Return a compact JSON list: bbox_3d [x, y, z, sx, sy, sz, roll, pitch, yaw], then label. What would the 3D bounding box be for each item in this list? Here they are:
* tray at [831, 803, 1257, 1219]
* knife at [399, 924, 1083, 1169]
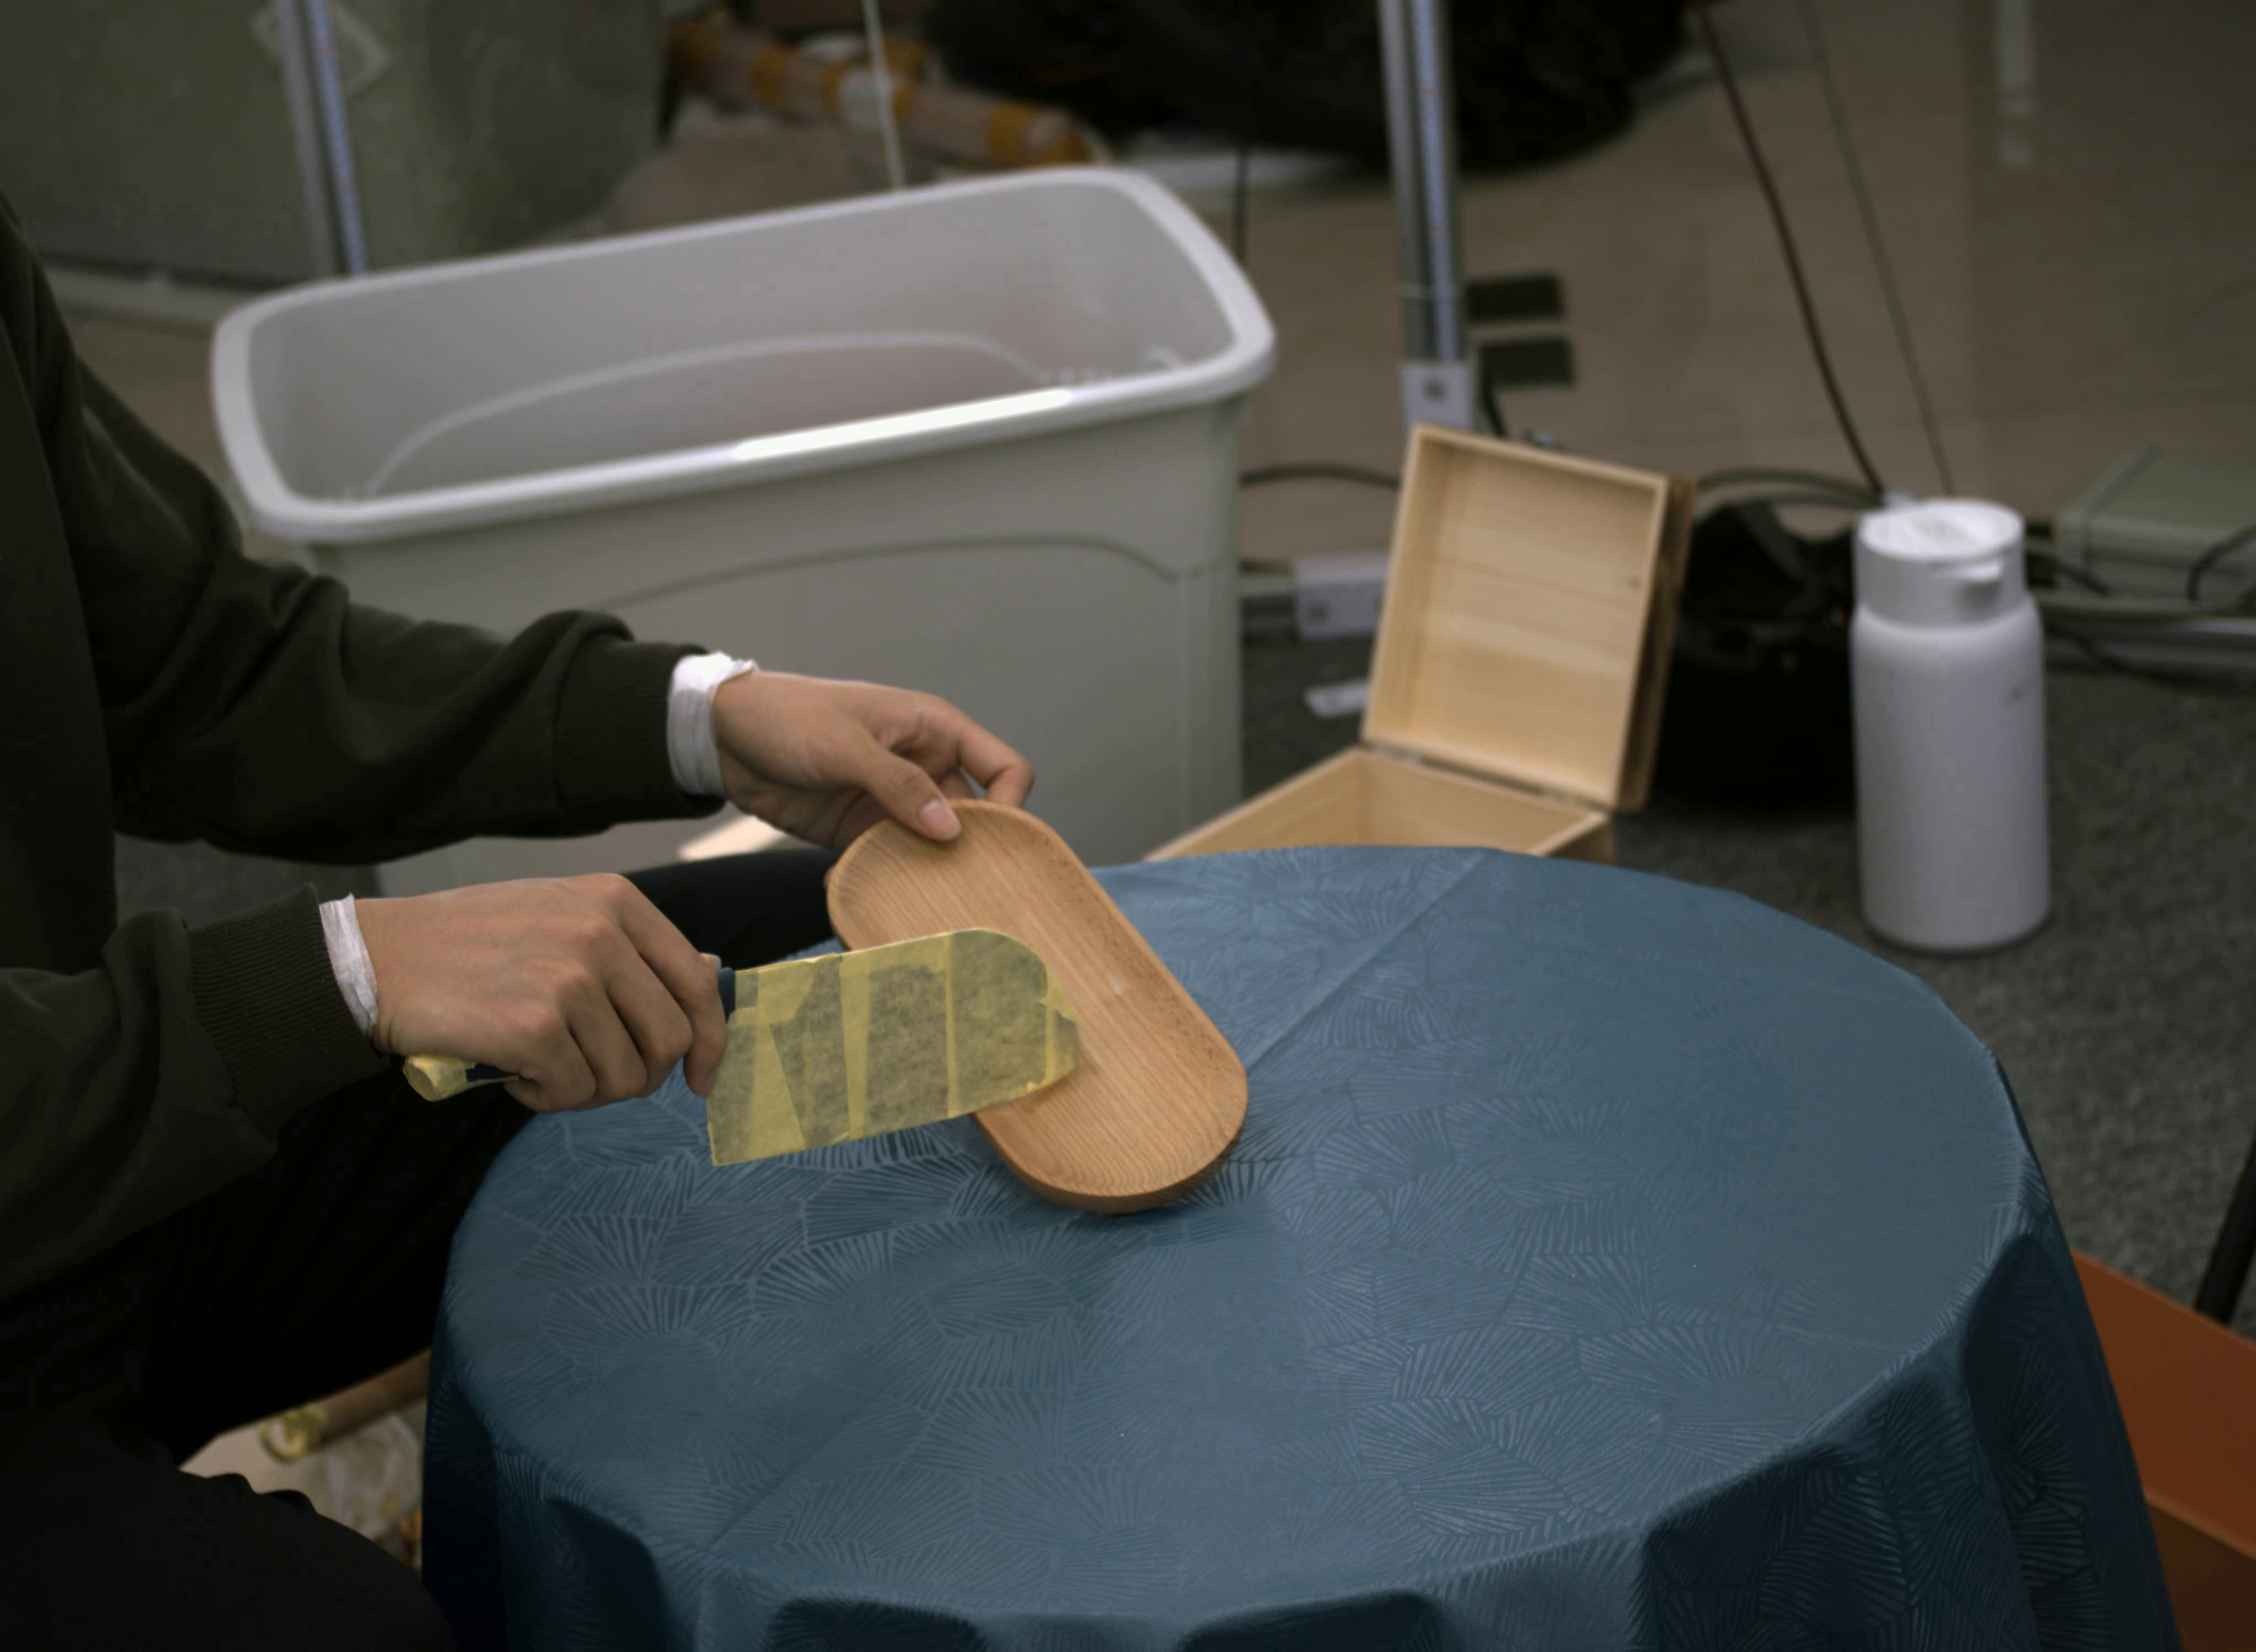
[{"bbox_3d":[-0.034,0.070,2.202,0.101,0.021,0.228,-26,51,-17],"label":"tray"},{"bbox_3d":[-0.137,0.085,2.096,0.289,0.081,0.027,-6,11,-33],"label":"knife"}]
